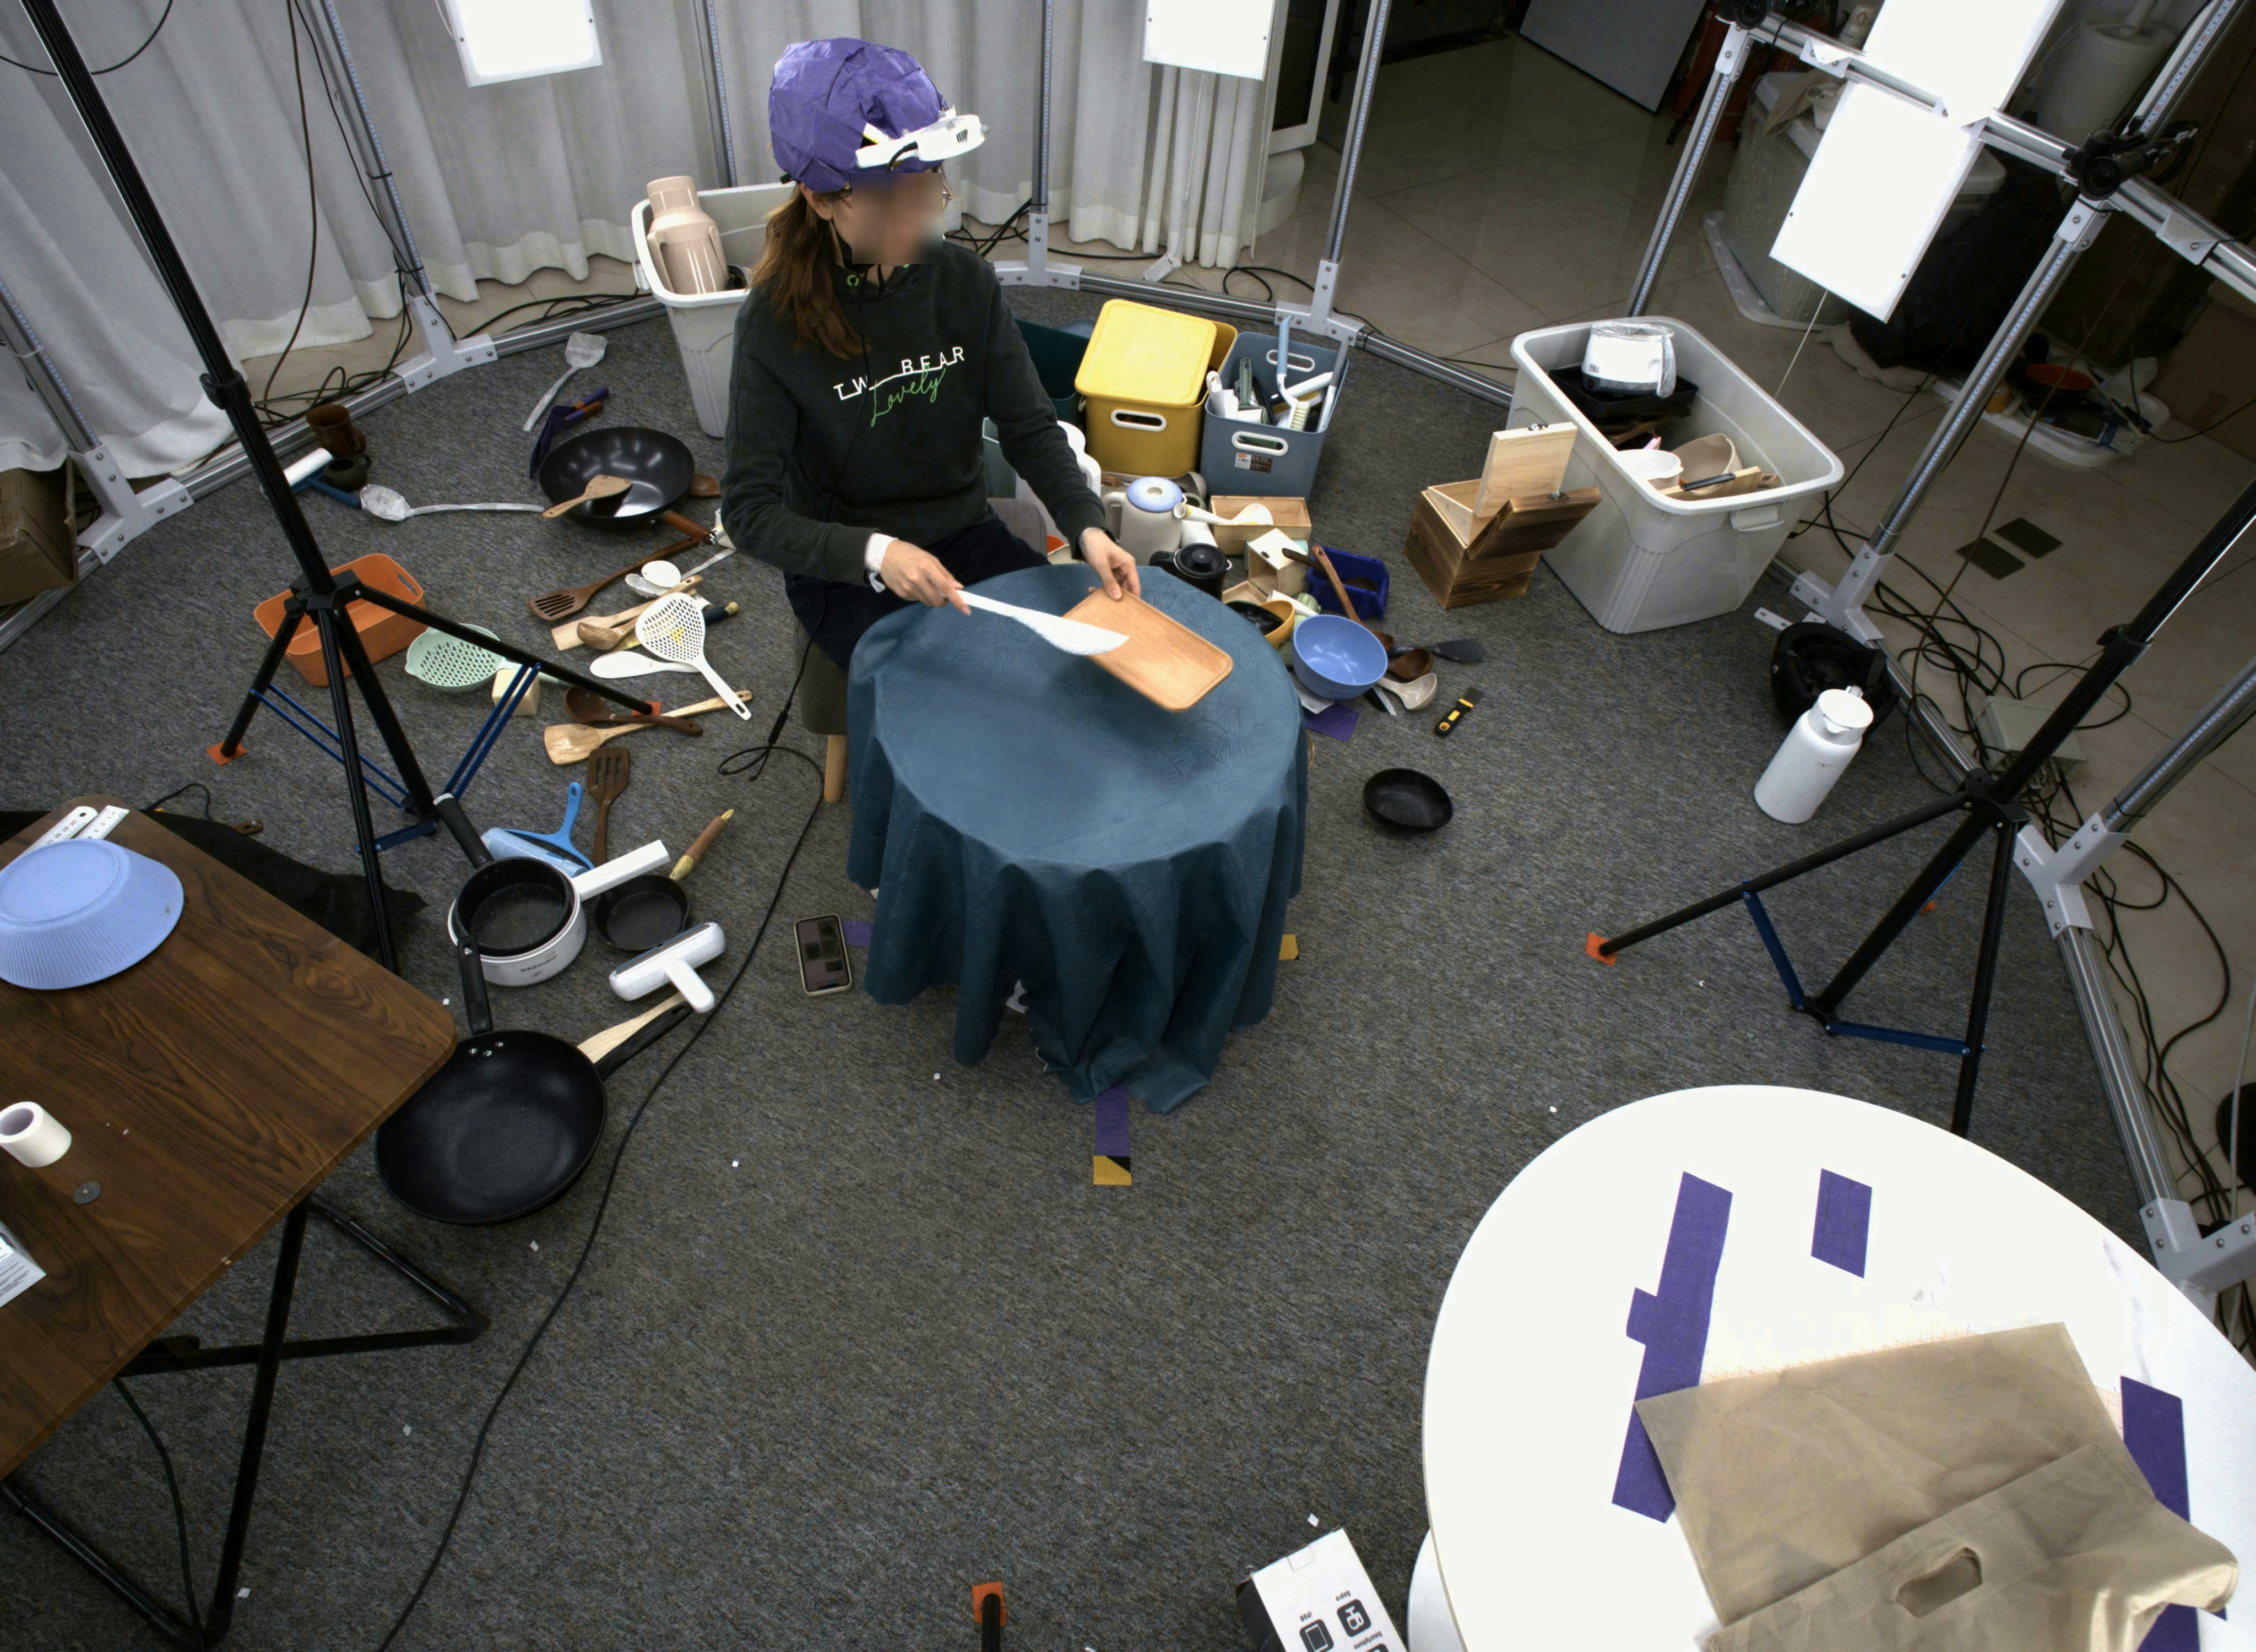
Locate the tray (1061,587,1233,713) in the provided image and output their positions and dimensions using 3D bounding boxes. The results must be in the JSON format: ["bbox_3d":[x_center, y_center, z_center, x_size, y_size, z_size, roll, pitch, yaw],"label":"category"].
[{"bbox_3d":[0.022,-0.248,1.797,0.132,0.022,0.254,-39,57,-25],"label":"tray"}]

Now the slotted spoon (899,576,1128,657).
[{"bbox_3d":[-0.162,-0.288,1.732,0.353,0.045,0.135,24,8,23],"label":"slotted spoon"}]
